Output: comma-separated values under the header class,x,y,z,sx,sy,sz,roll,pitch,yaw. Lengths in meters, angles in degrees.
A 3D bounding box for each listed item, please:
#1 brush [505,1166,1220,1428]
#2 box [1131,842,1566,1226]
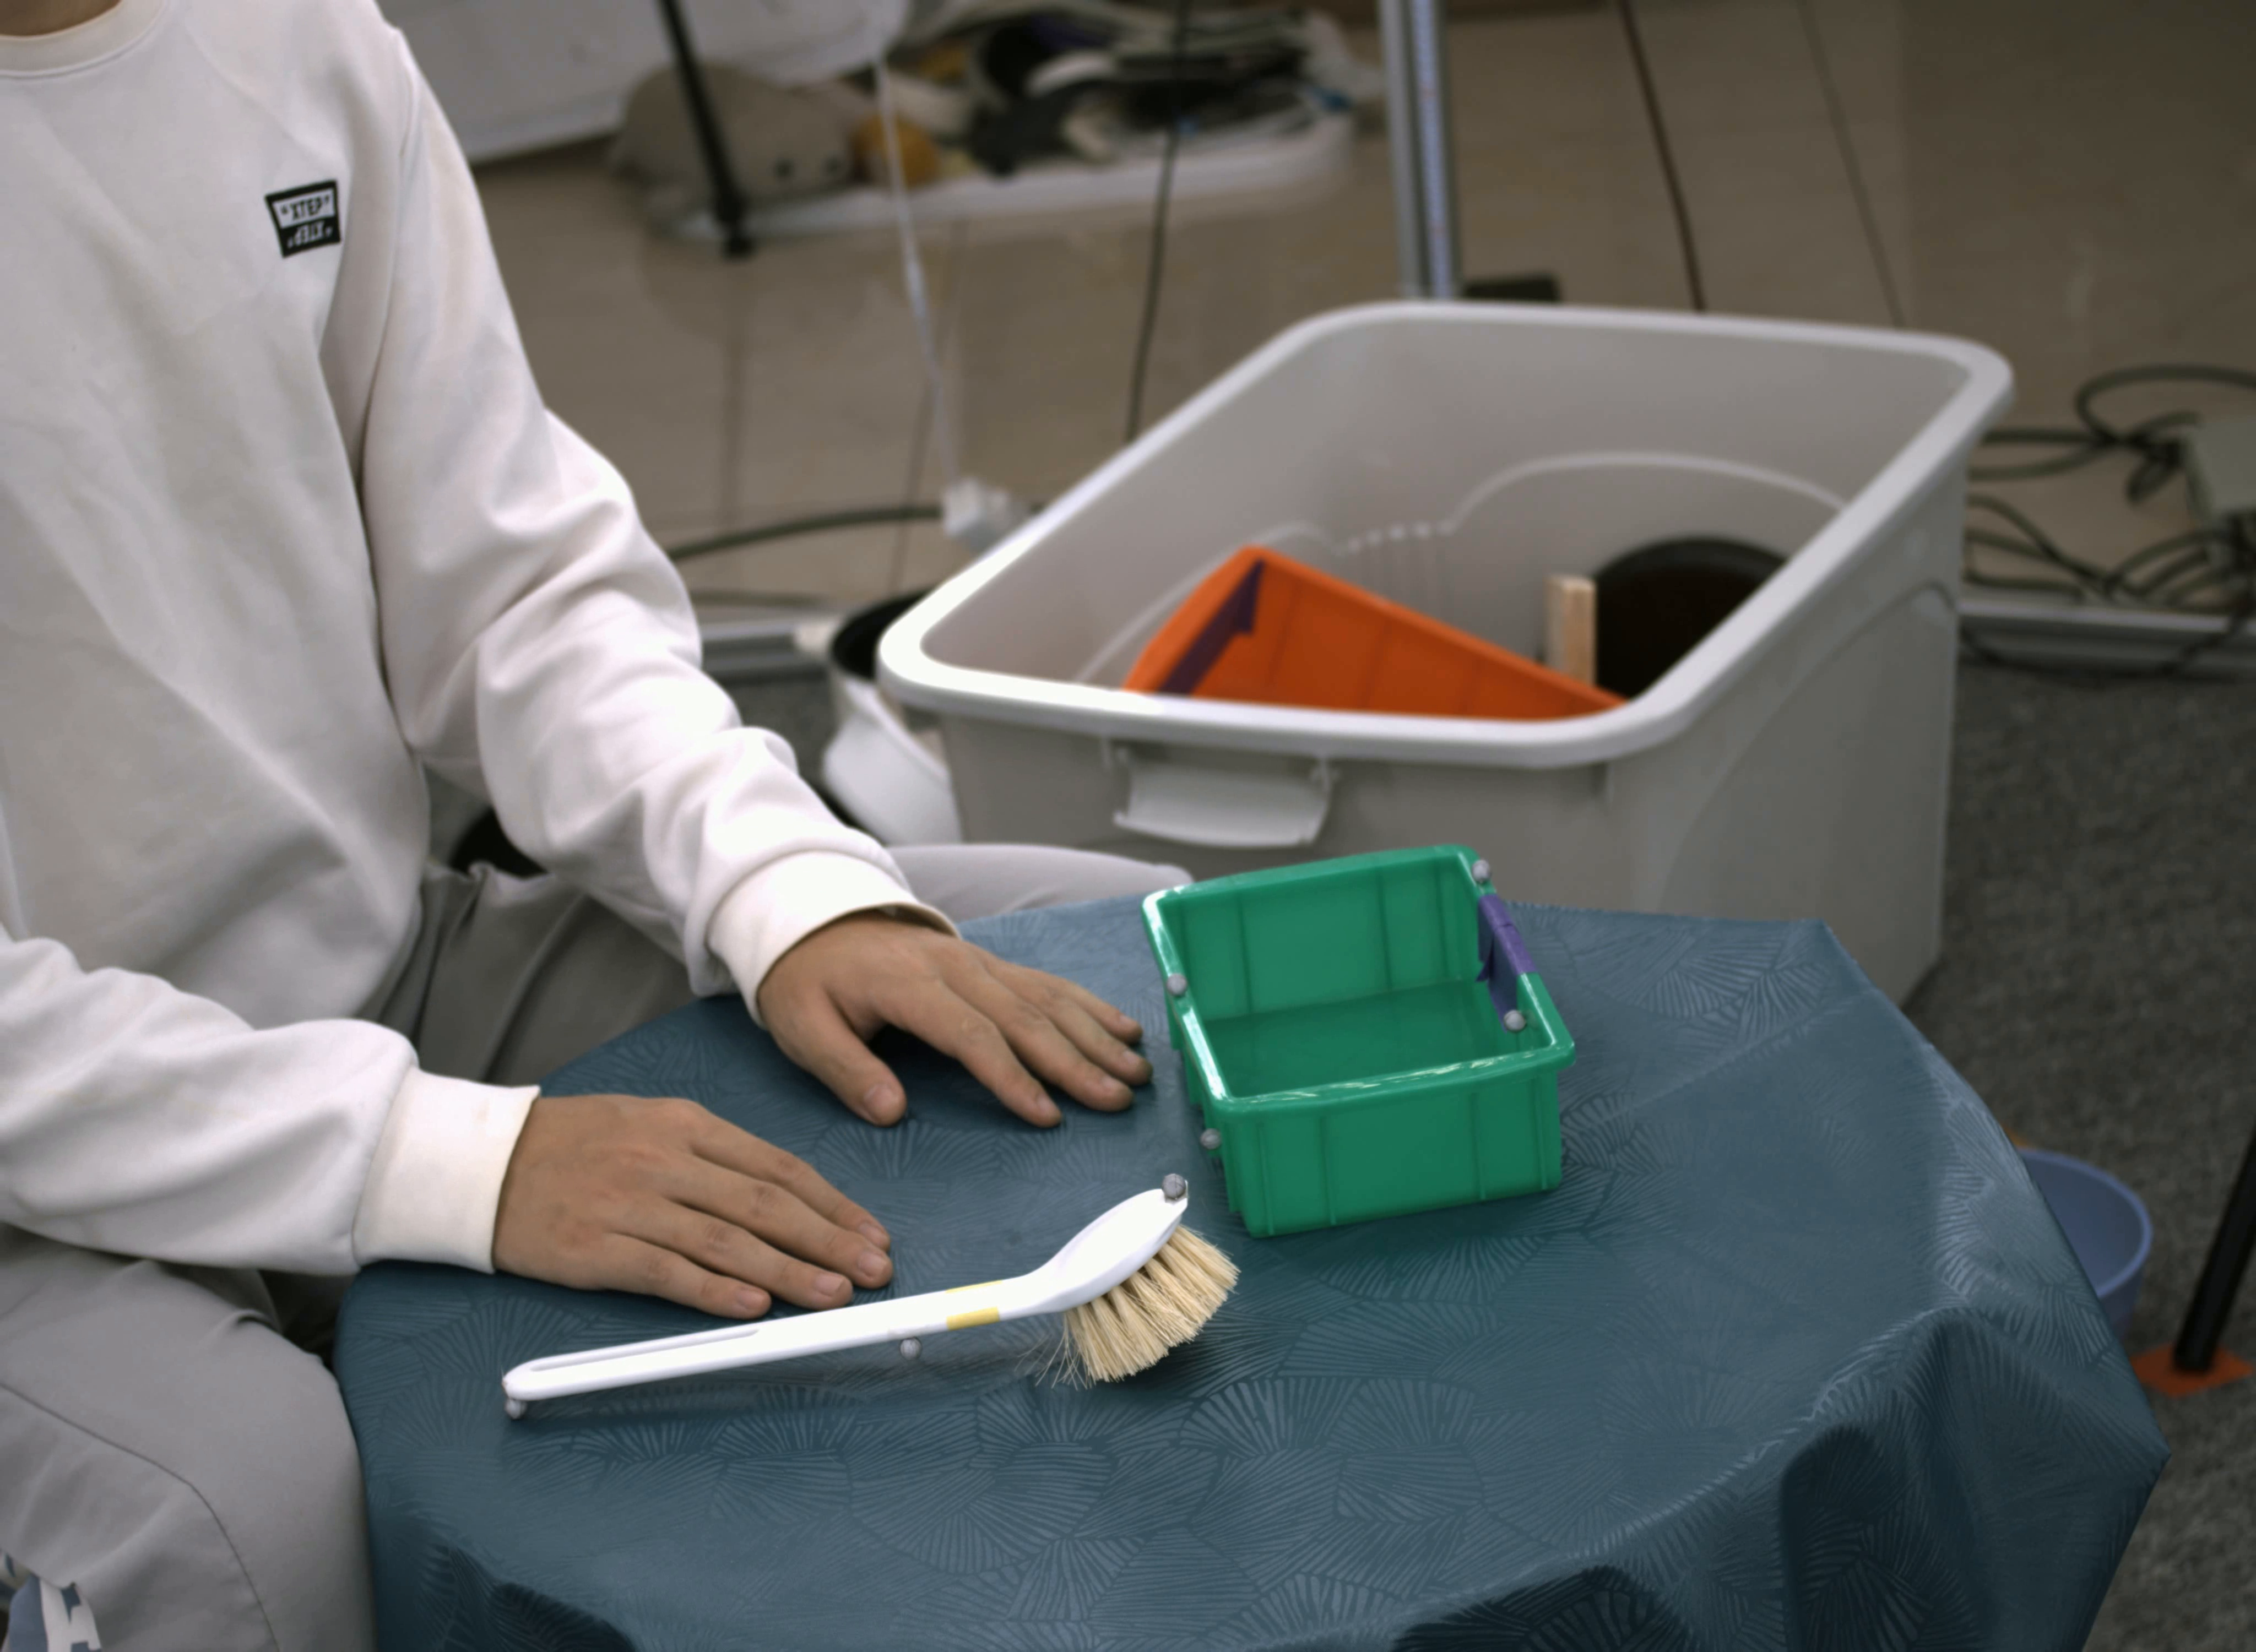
class,x,y,z,sx,sy,sz,roll,pitch,yaw
brush,-0.092,0.191,2.043,0.266,0.056,0.068,-20,1,6
box,0.085,0.080,2.178,0.138,0.066,0.208,-9,22,-6
